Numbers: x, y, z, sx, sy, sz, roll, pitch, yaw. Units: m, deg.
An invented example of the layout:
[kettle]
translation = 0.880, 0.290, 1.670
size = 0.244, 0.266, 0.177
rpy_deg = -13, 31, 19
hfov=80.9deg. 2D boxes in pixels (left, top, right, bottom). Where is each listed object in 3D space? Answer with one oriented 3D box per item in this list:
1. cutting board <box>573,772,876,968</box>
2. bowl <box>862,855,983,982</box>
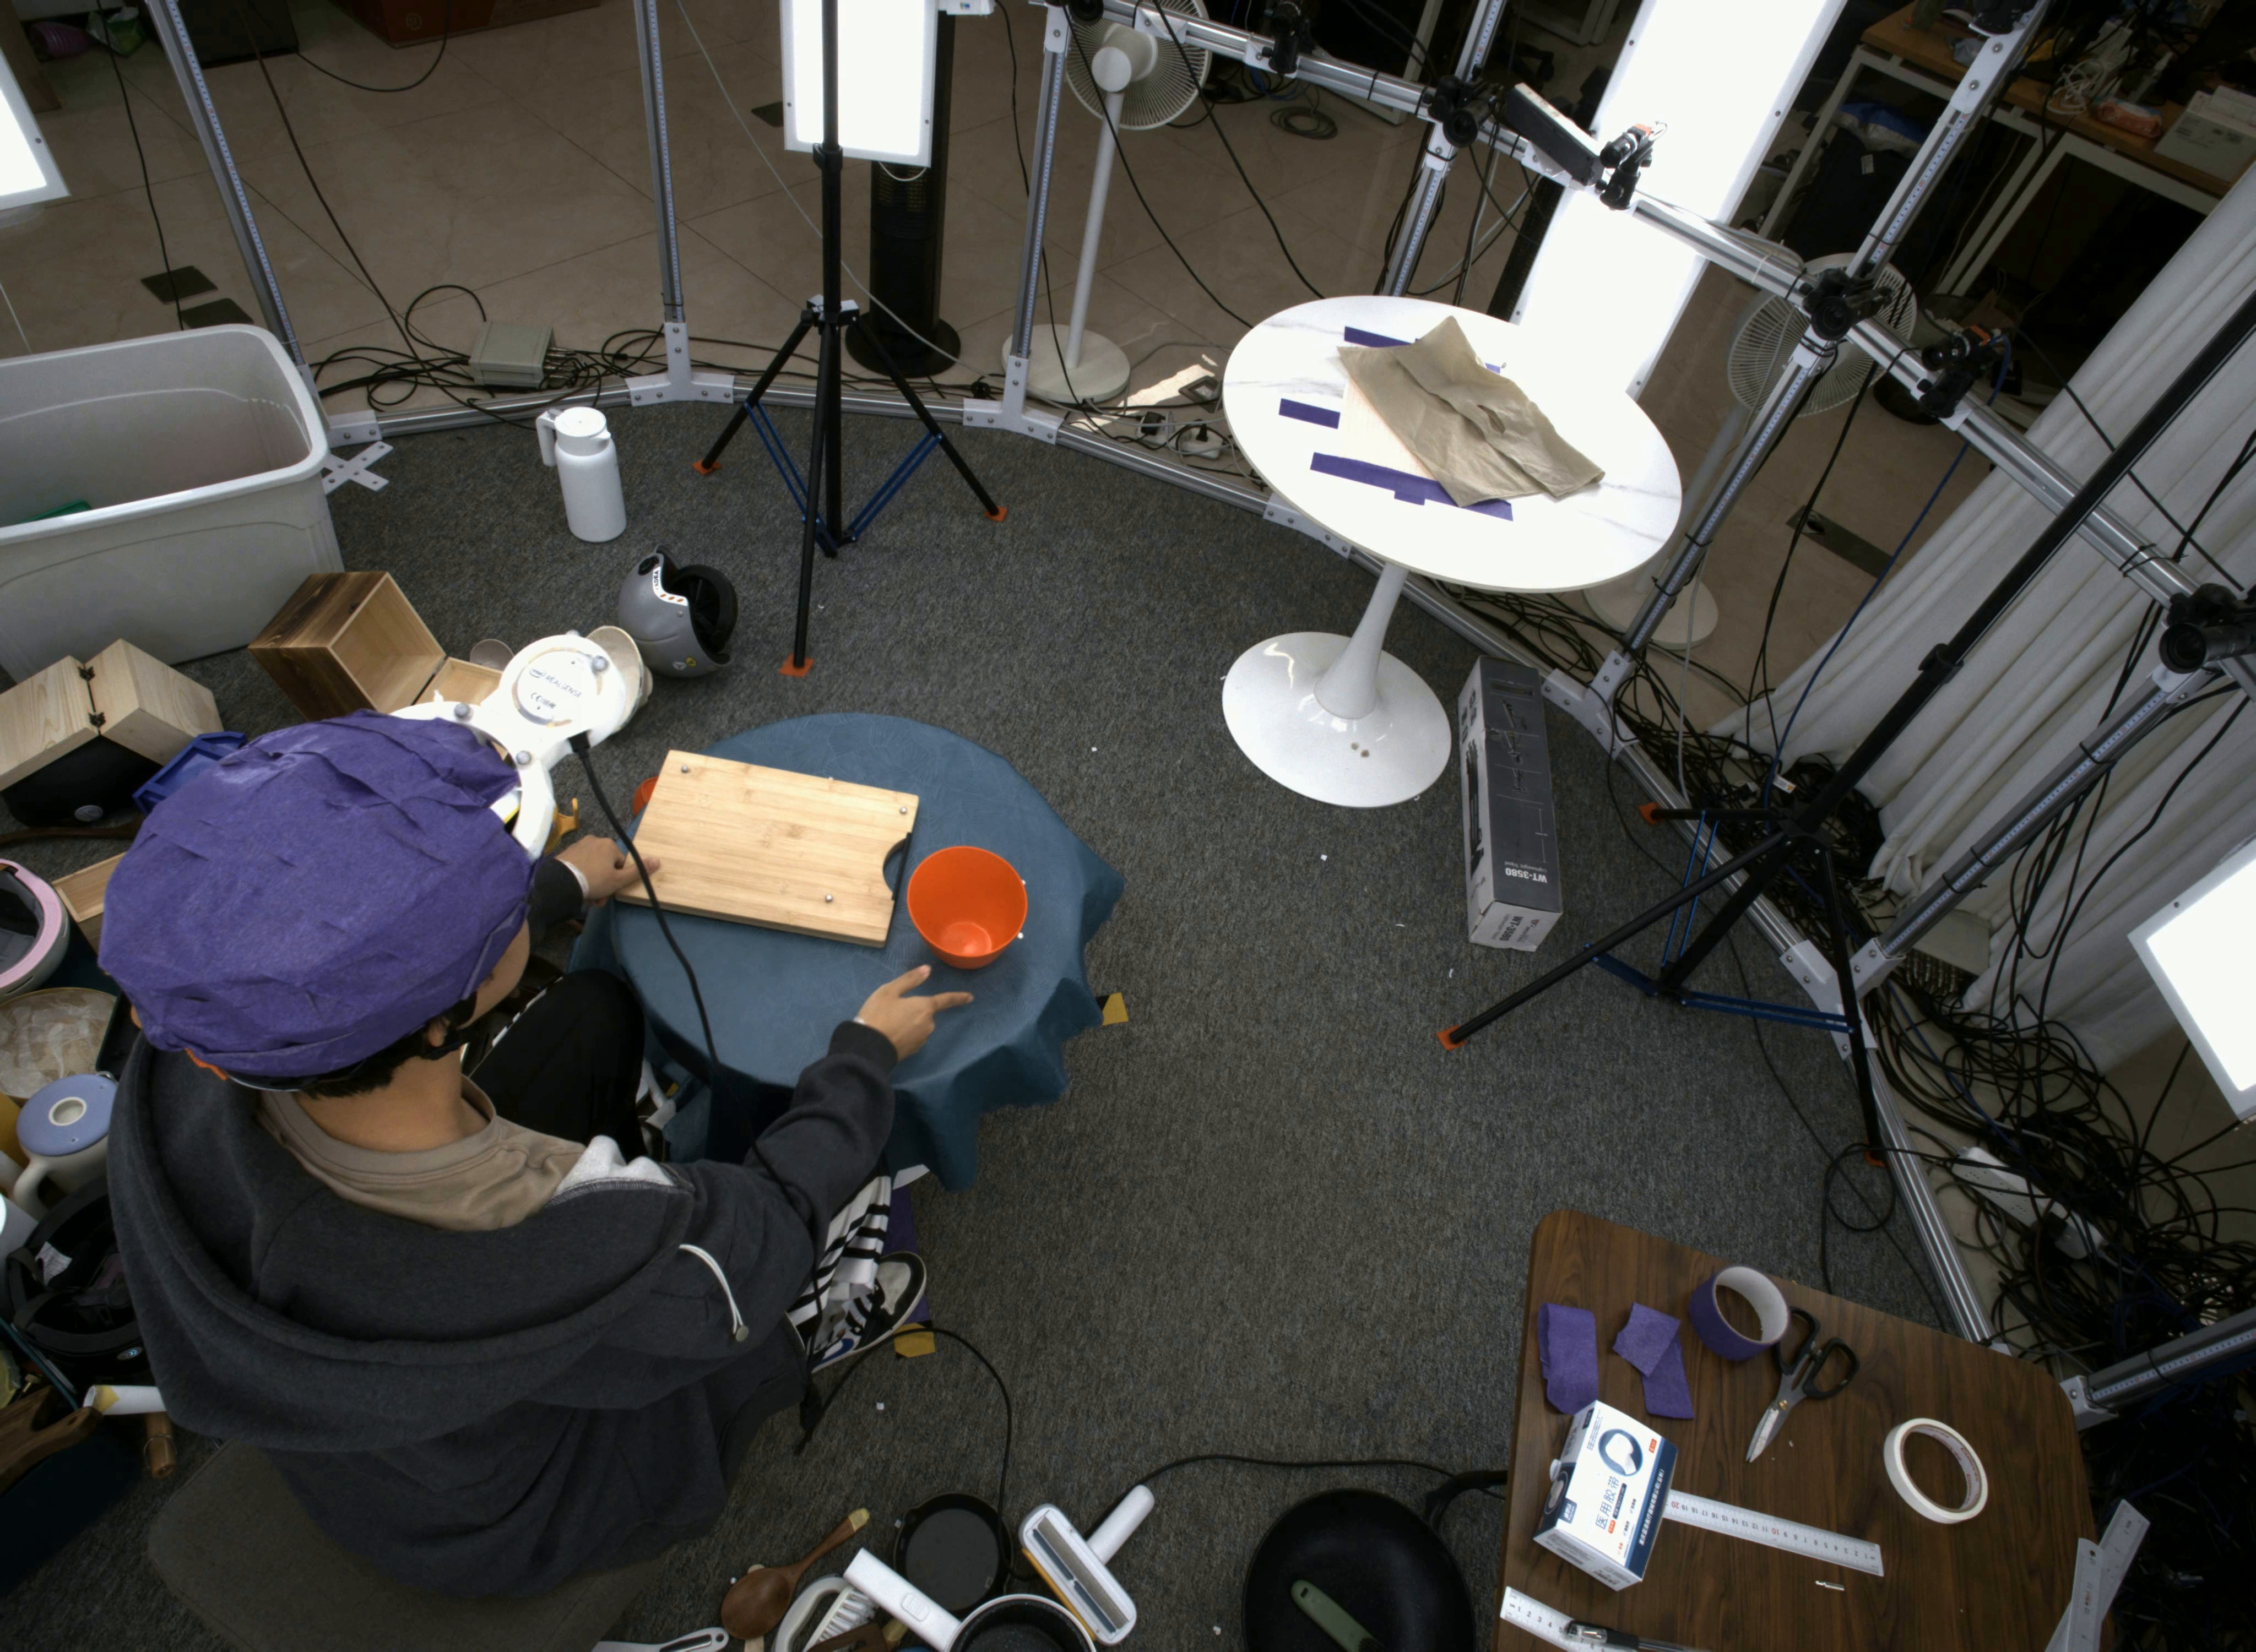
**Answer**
[cutting board]
translation = -0.512, 0.050, 1.654
size = 0.348, 0.024, 0.246
rpy_deg = 8, 53, -10
[bowl]
translation = -0.256, 0.125, 1.613
size = 0.148, 0.107, 0.145
rpy_deg = 9, 50, -9
